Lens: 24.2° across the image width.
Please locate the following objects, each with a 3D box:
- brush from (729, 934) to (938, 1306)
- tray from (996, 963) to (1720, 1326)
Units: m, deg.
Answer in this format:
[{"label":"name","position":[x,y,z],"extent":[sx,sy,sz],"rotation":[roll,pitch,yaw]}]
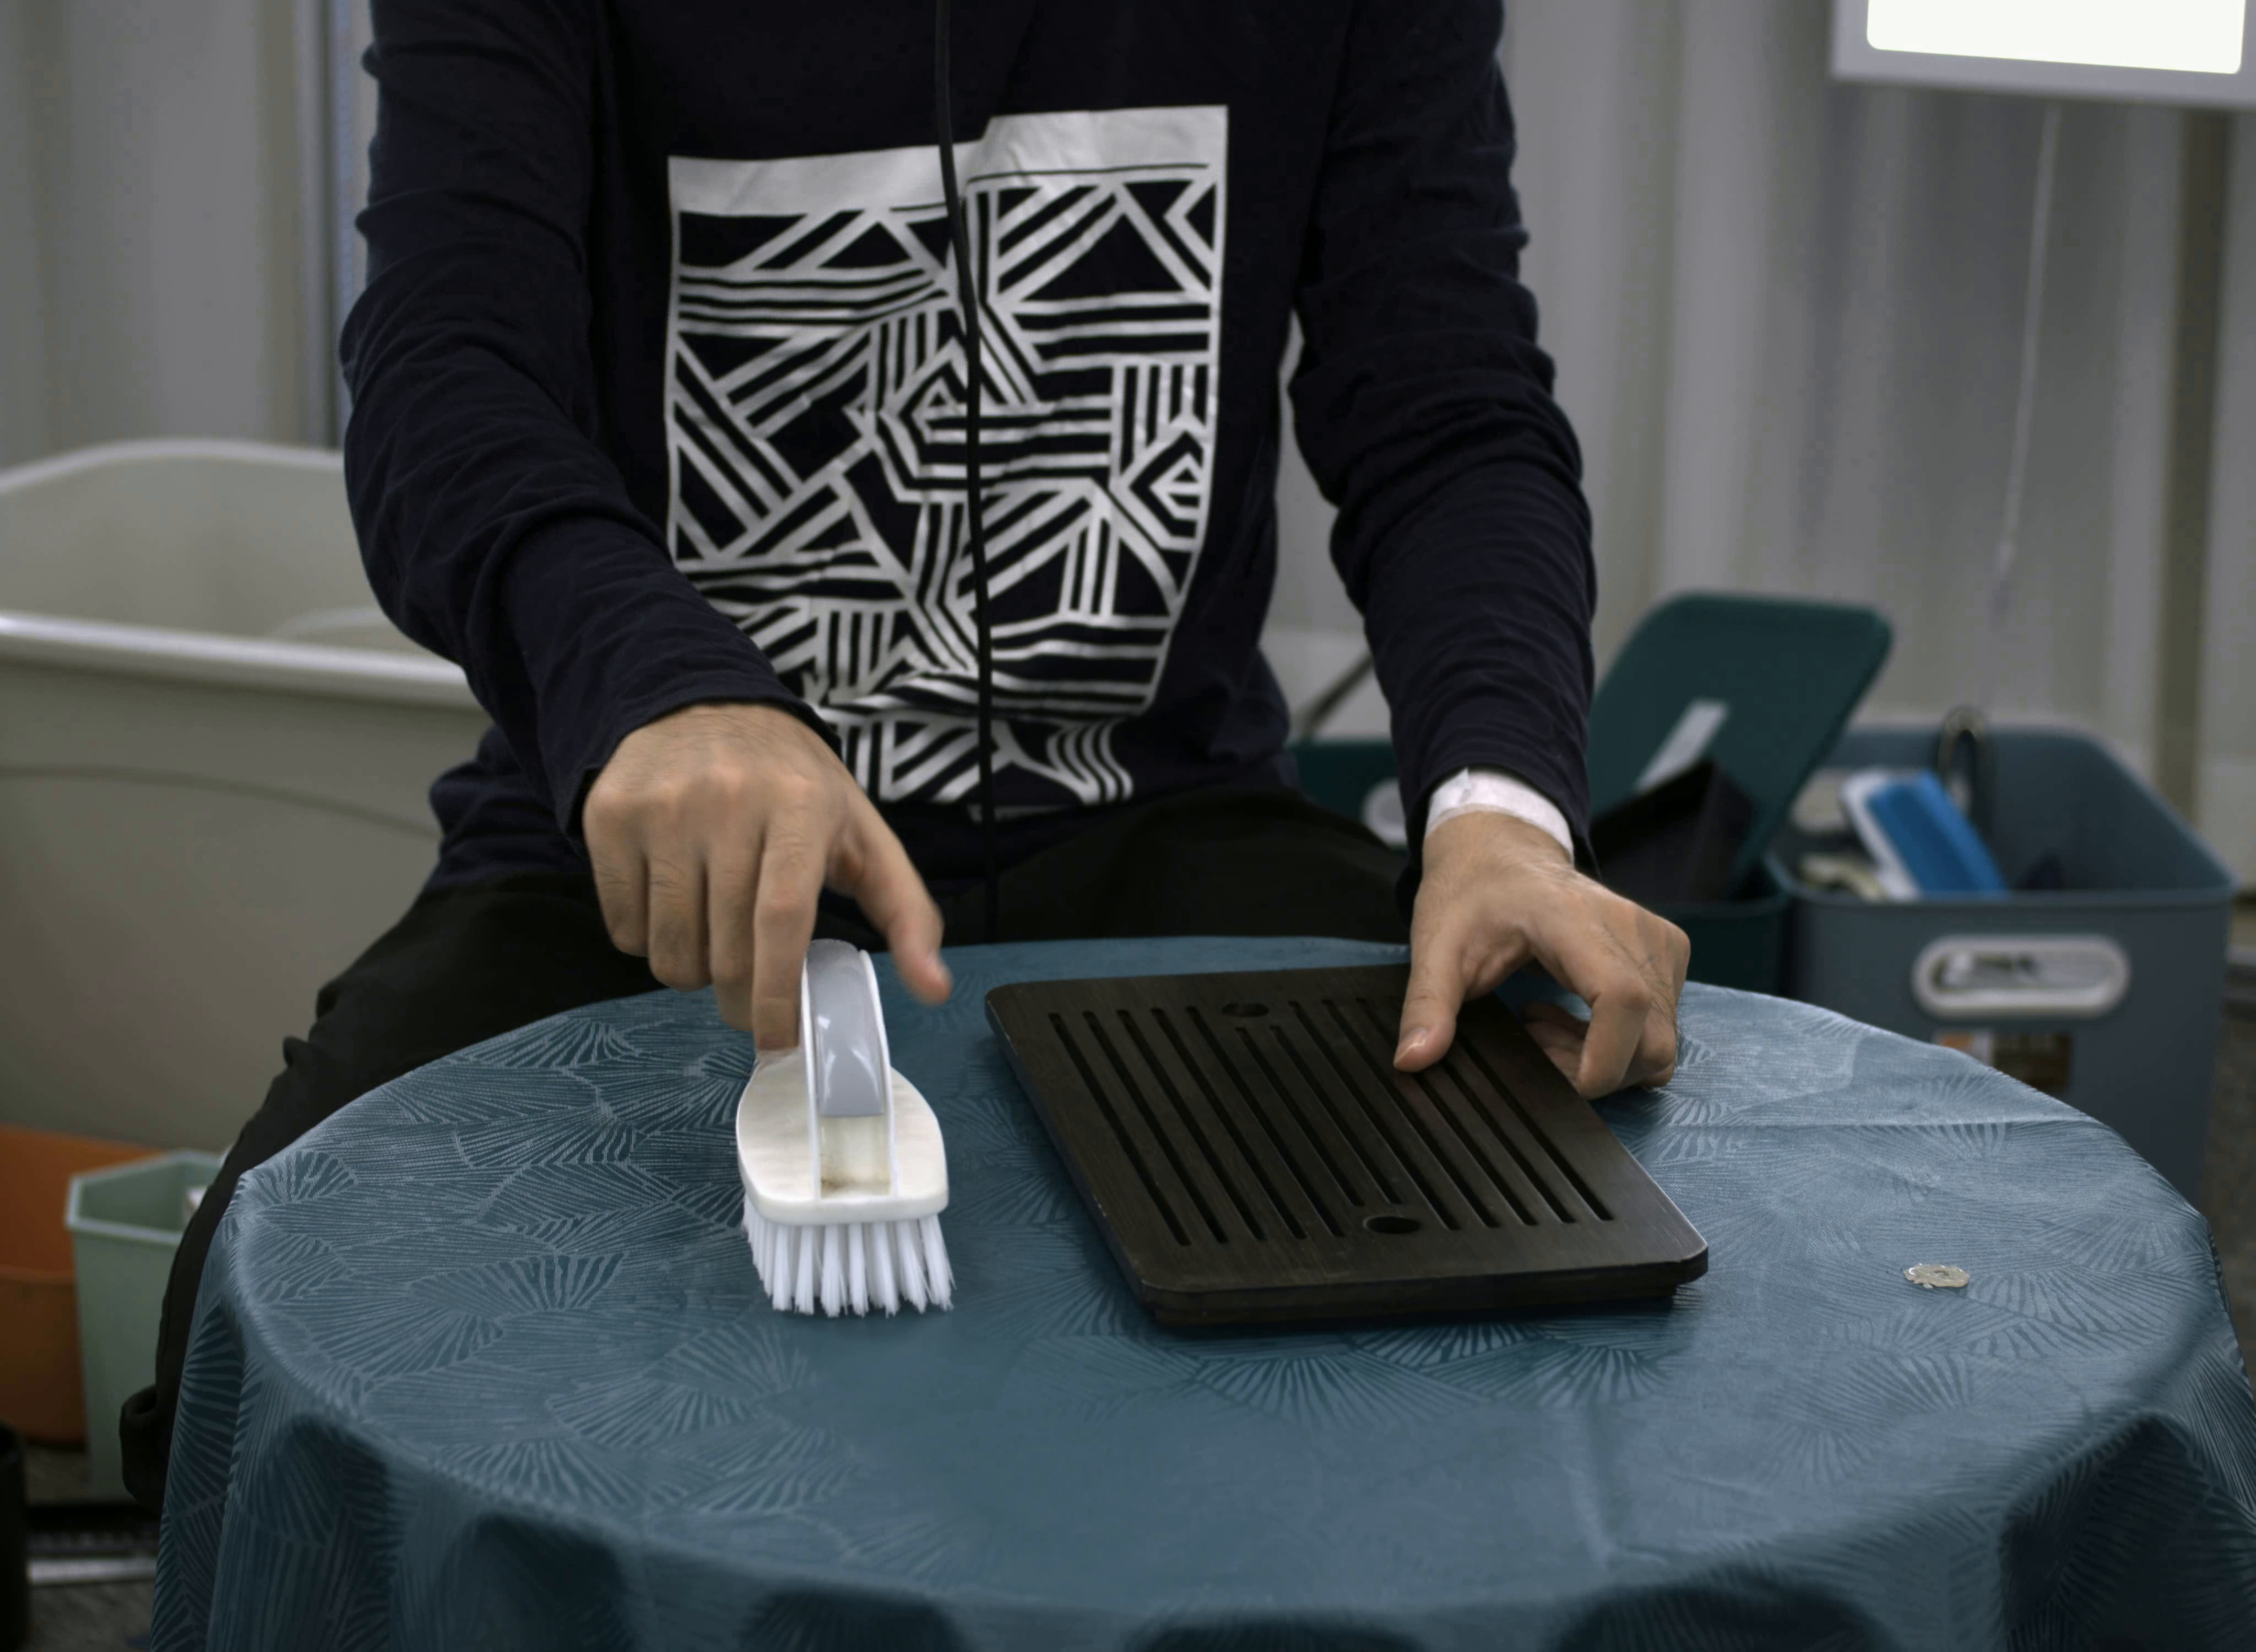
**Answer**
[{"label":"brush","position":[-0.091,0.077,1.583],"extent":[0.061,0.095,0.174],"rotation":[-5,14,-6]},{"label":"tray","position":[0.064,0.097,1.652],"extent":[0.170,0.019,0.303],"rotation":[-2,15,-10]}]
